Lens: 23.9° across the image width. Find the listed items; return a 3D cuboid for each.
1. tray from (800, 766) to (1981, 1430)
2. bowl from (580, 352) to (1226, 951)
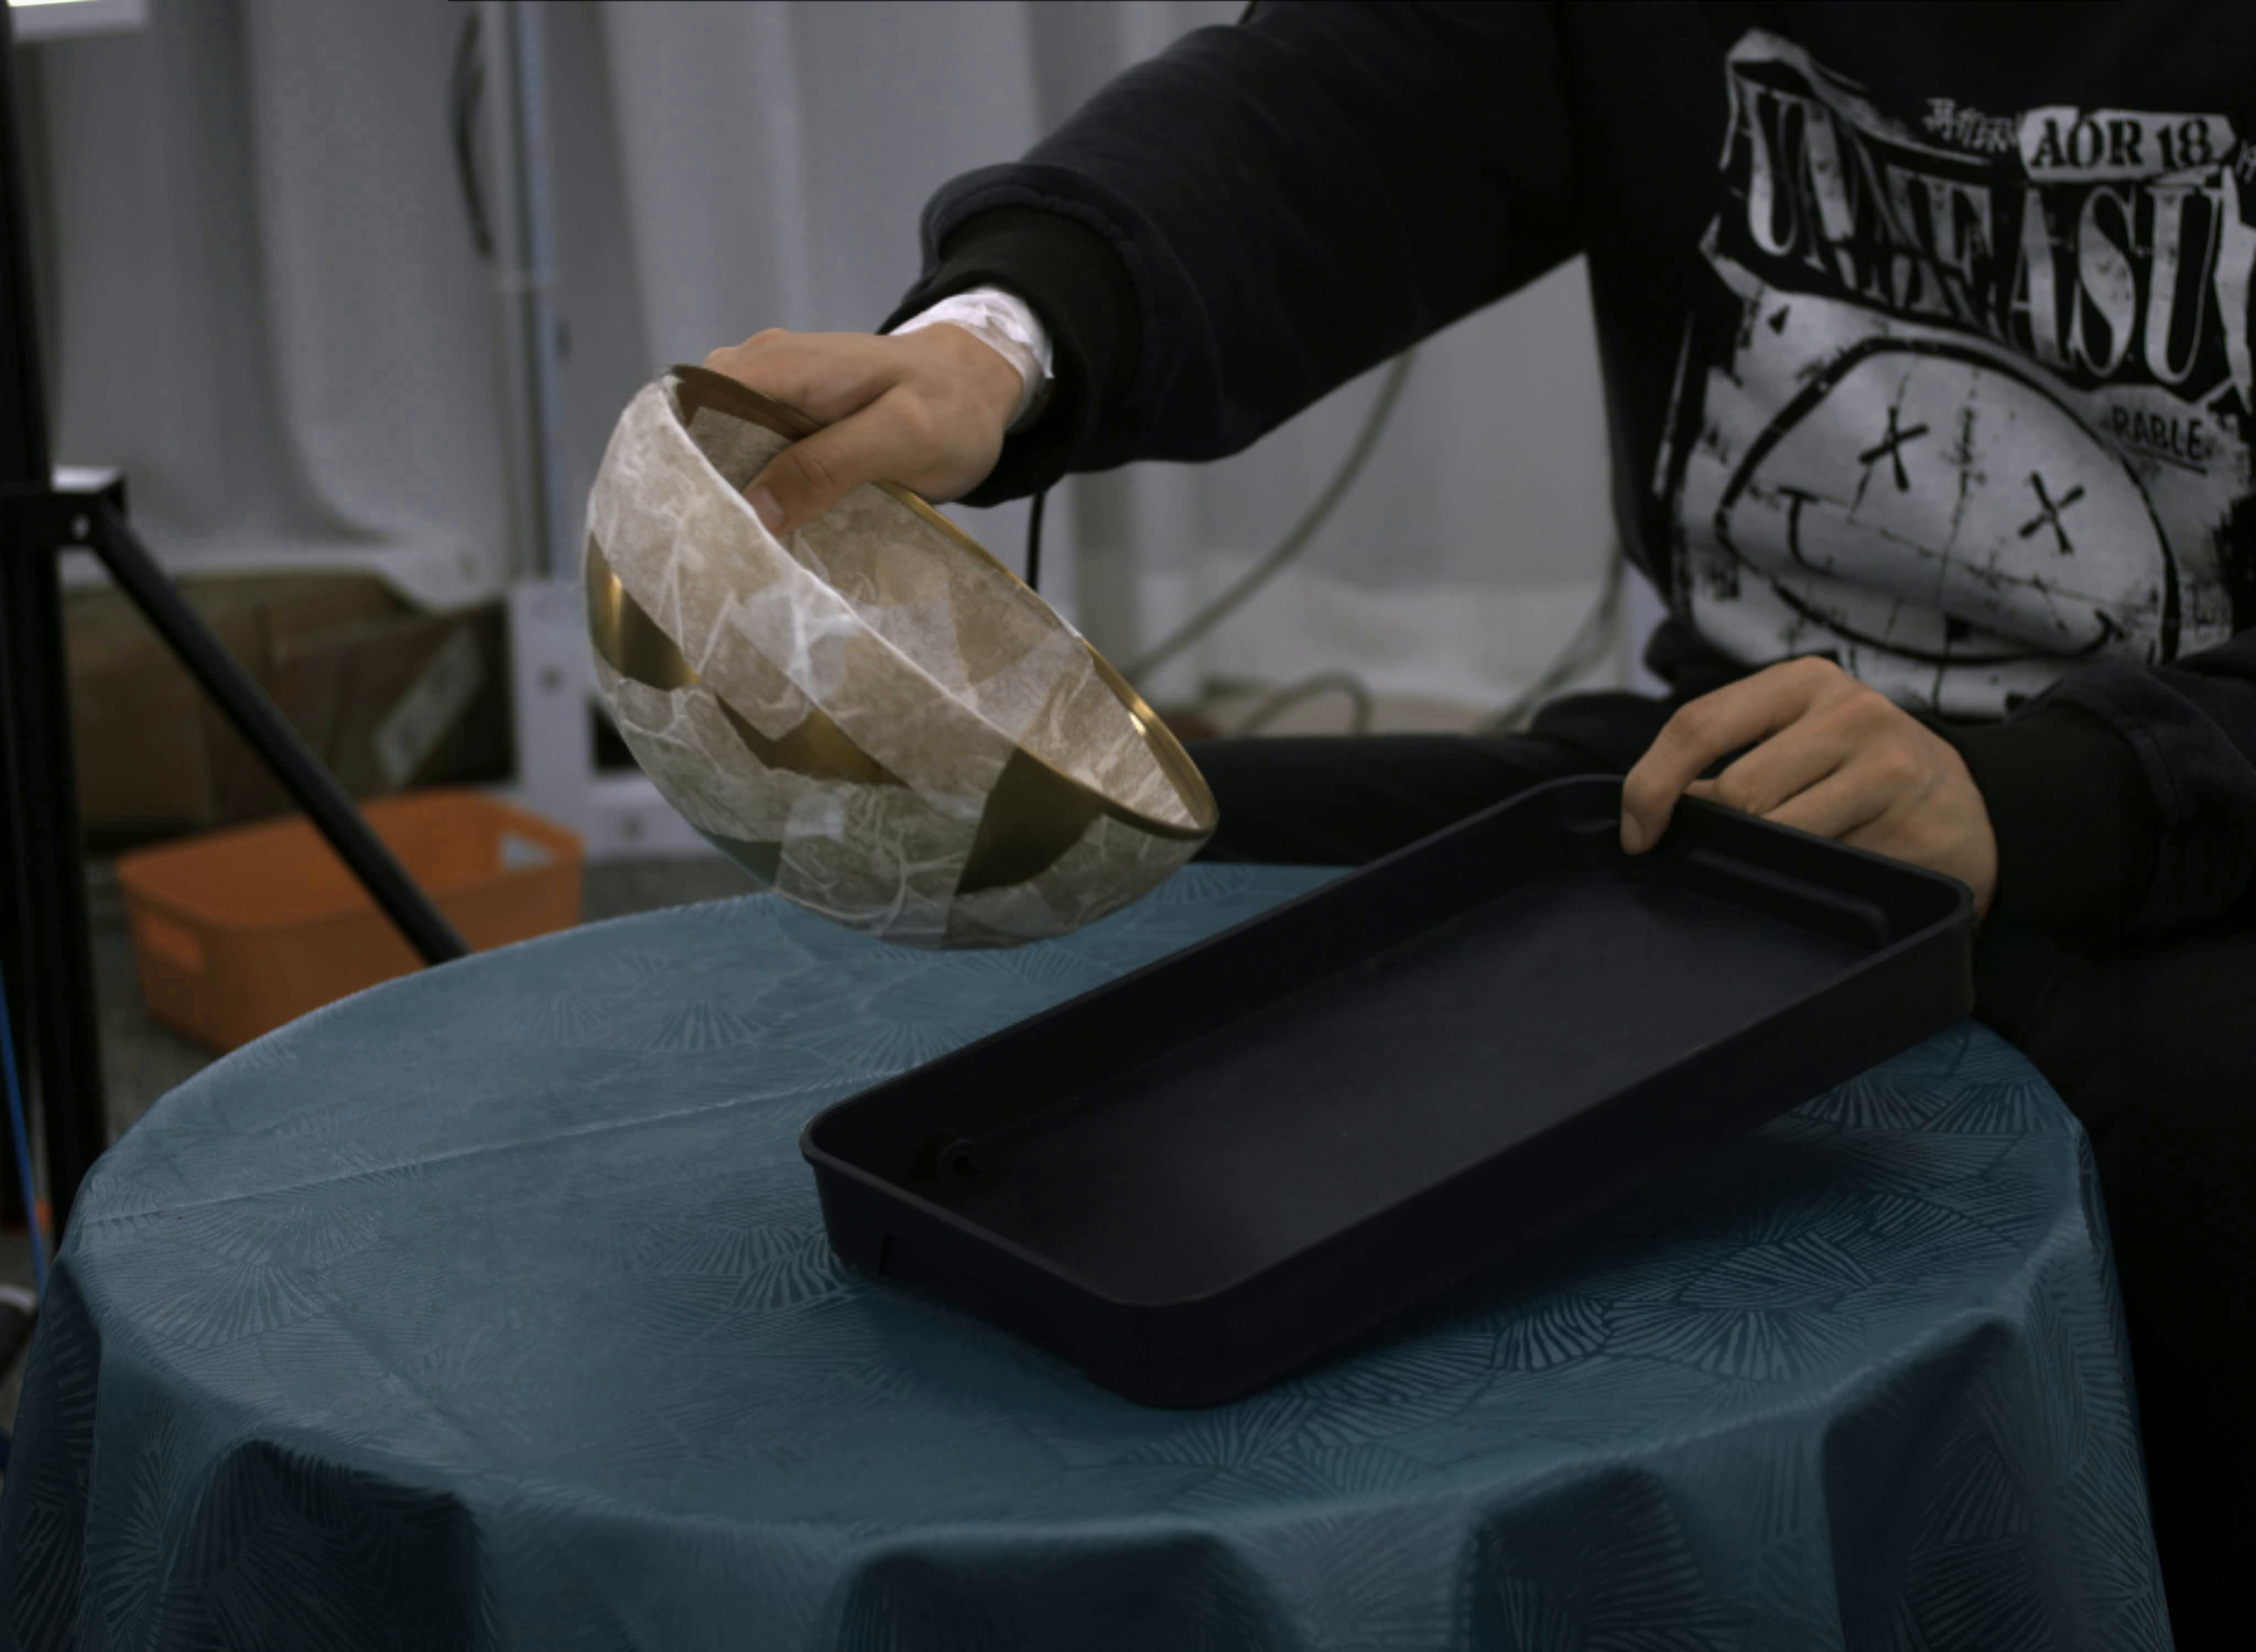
[{"bbox_3d":[0.079,0.071,1.524,0.312,0.037,0.188,-24,27,-28],"label":"tray"},{"bbox_3d":[-0.075,-0.030,1.483,0.213,0.095,0.216,37,11,-10],"label":"bowl"}]
